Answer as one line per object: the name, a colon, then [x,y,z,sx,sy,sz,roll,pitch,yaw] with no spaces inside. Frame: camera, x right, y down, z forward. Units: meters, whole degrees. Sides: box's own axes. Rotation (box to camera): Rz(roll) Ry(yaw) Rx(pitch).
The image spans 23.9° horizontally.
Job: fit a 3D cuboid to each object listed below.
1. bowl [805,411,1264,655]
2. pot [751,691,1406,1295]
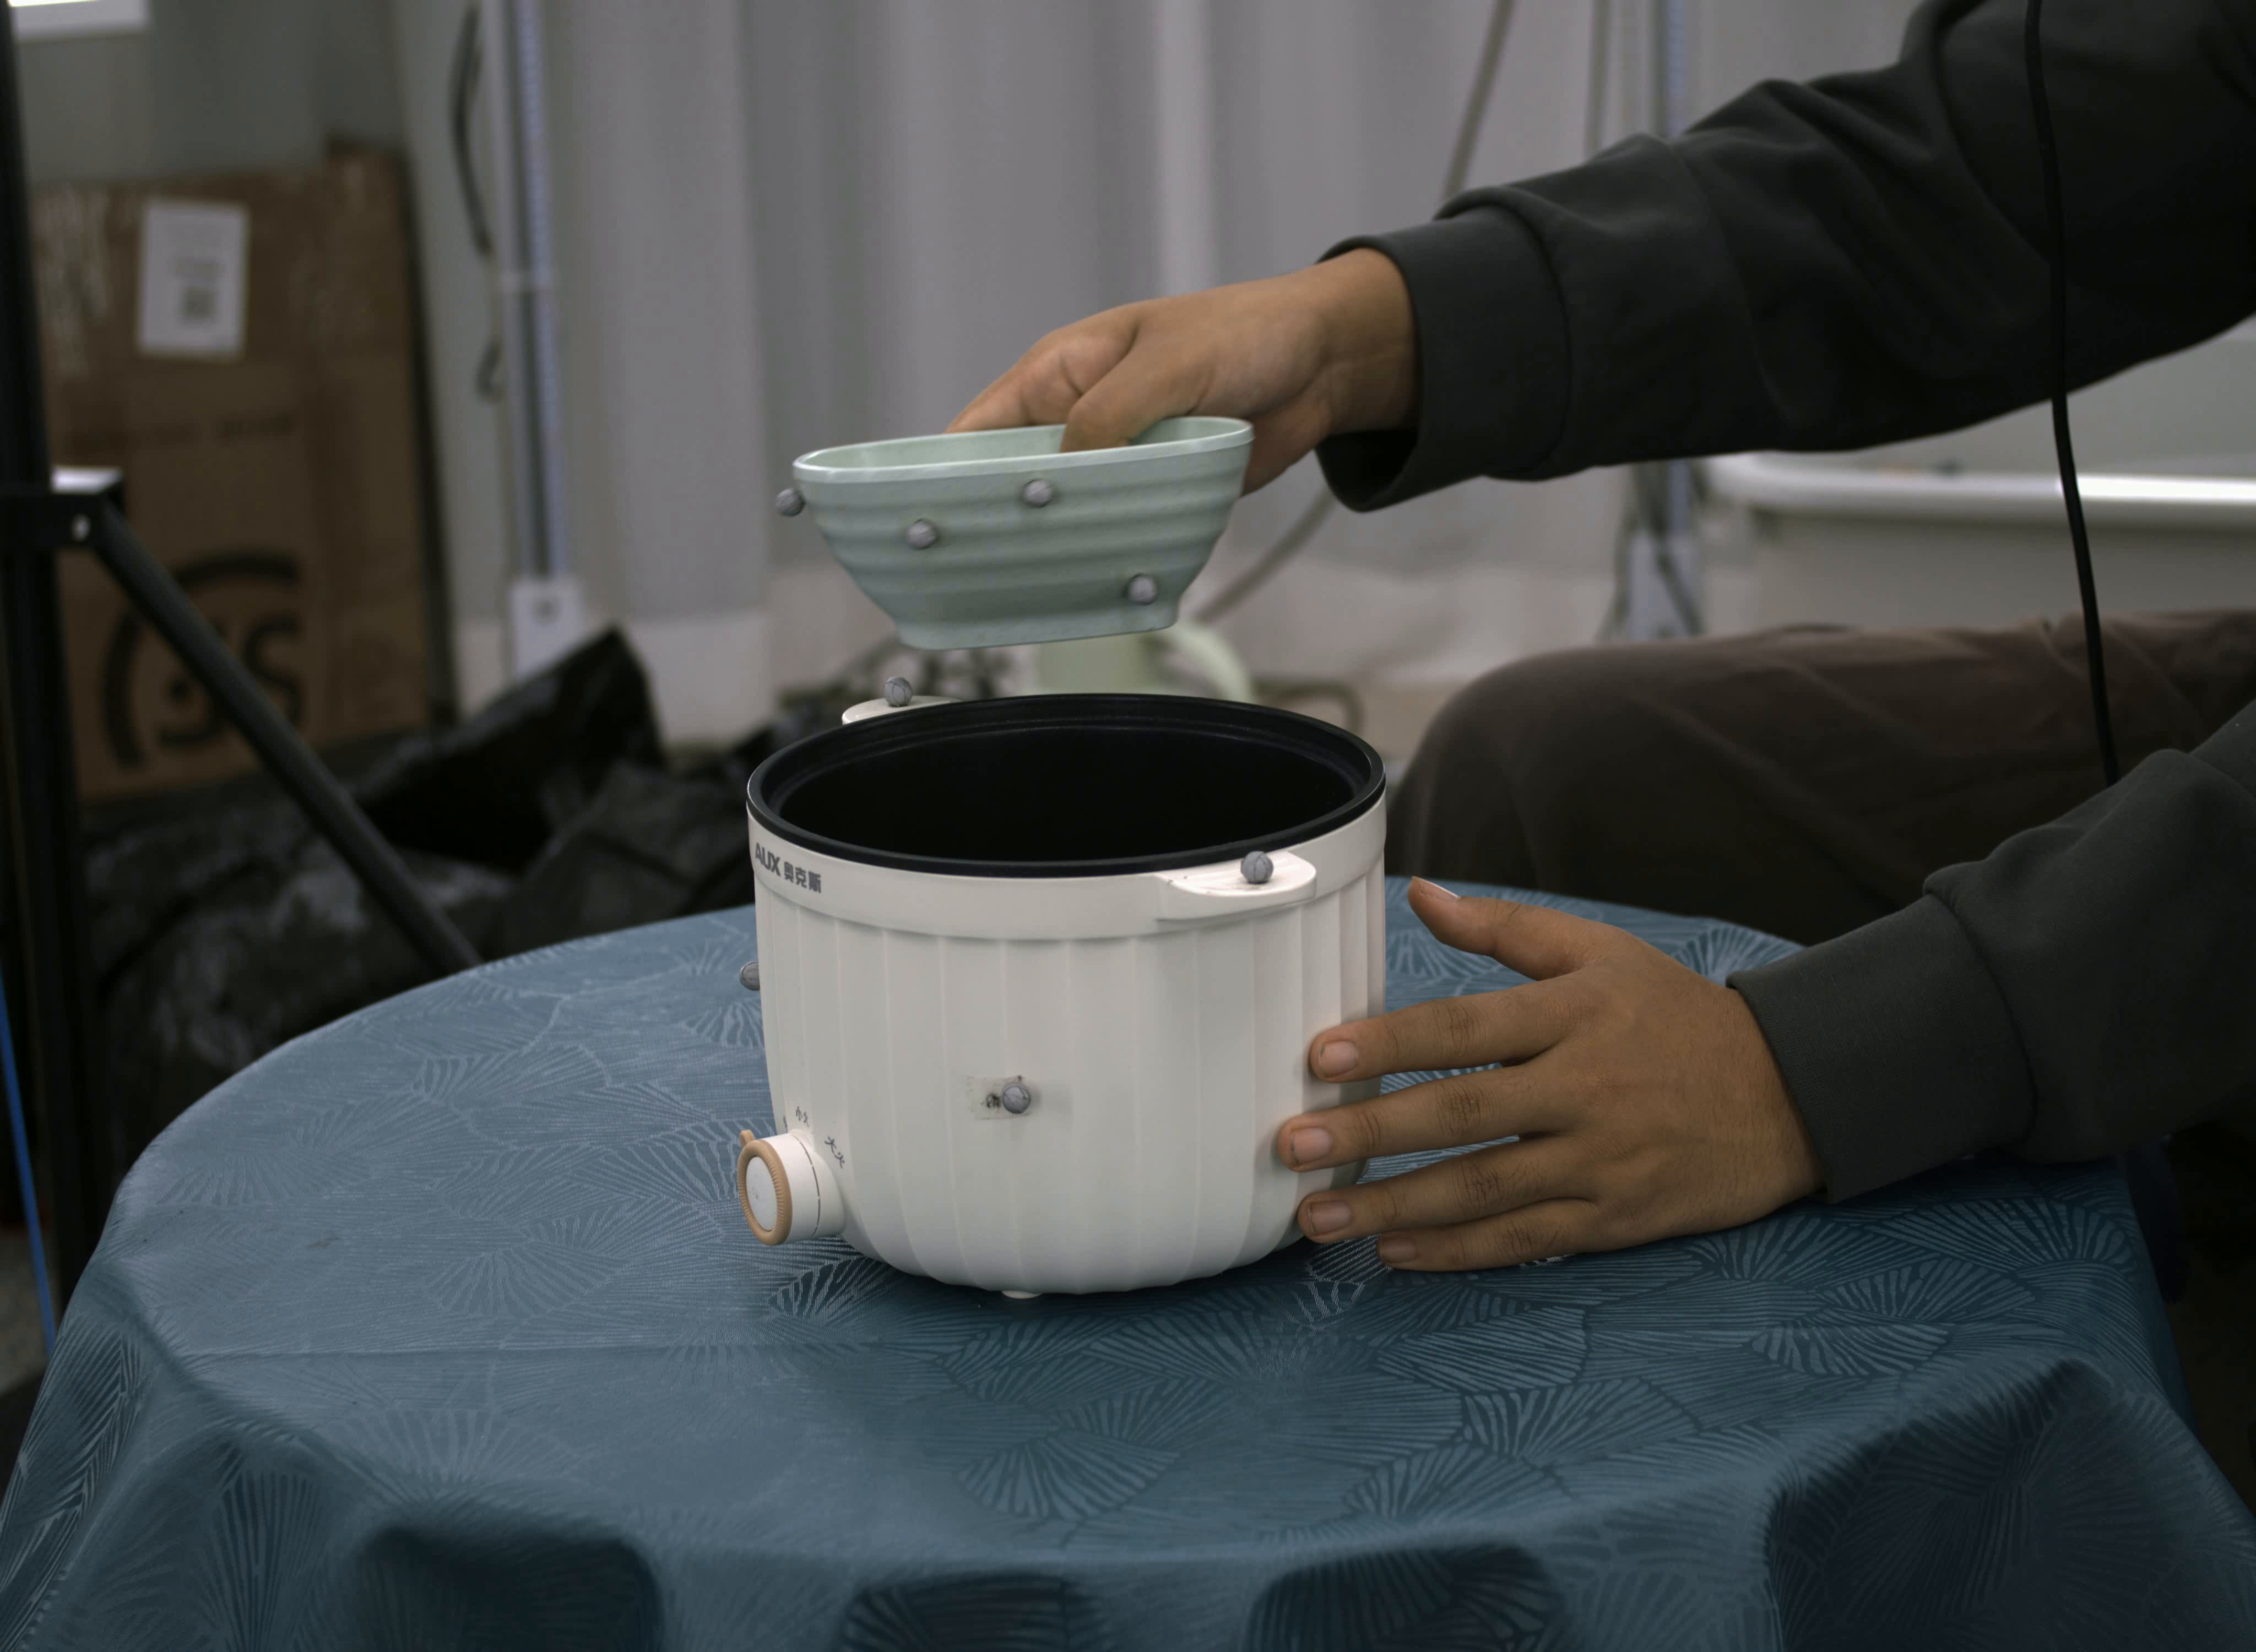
bowl: [-0.026,-0.088,1.610,0.150,0.059,0.152,-5,9,-1]
pot: [-0.017,0.049,1.510,0.186,0.143,0.245,-7,14,-28]
